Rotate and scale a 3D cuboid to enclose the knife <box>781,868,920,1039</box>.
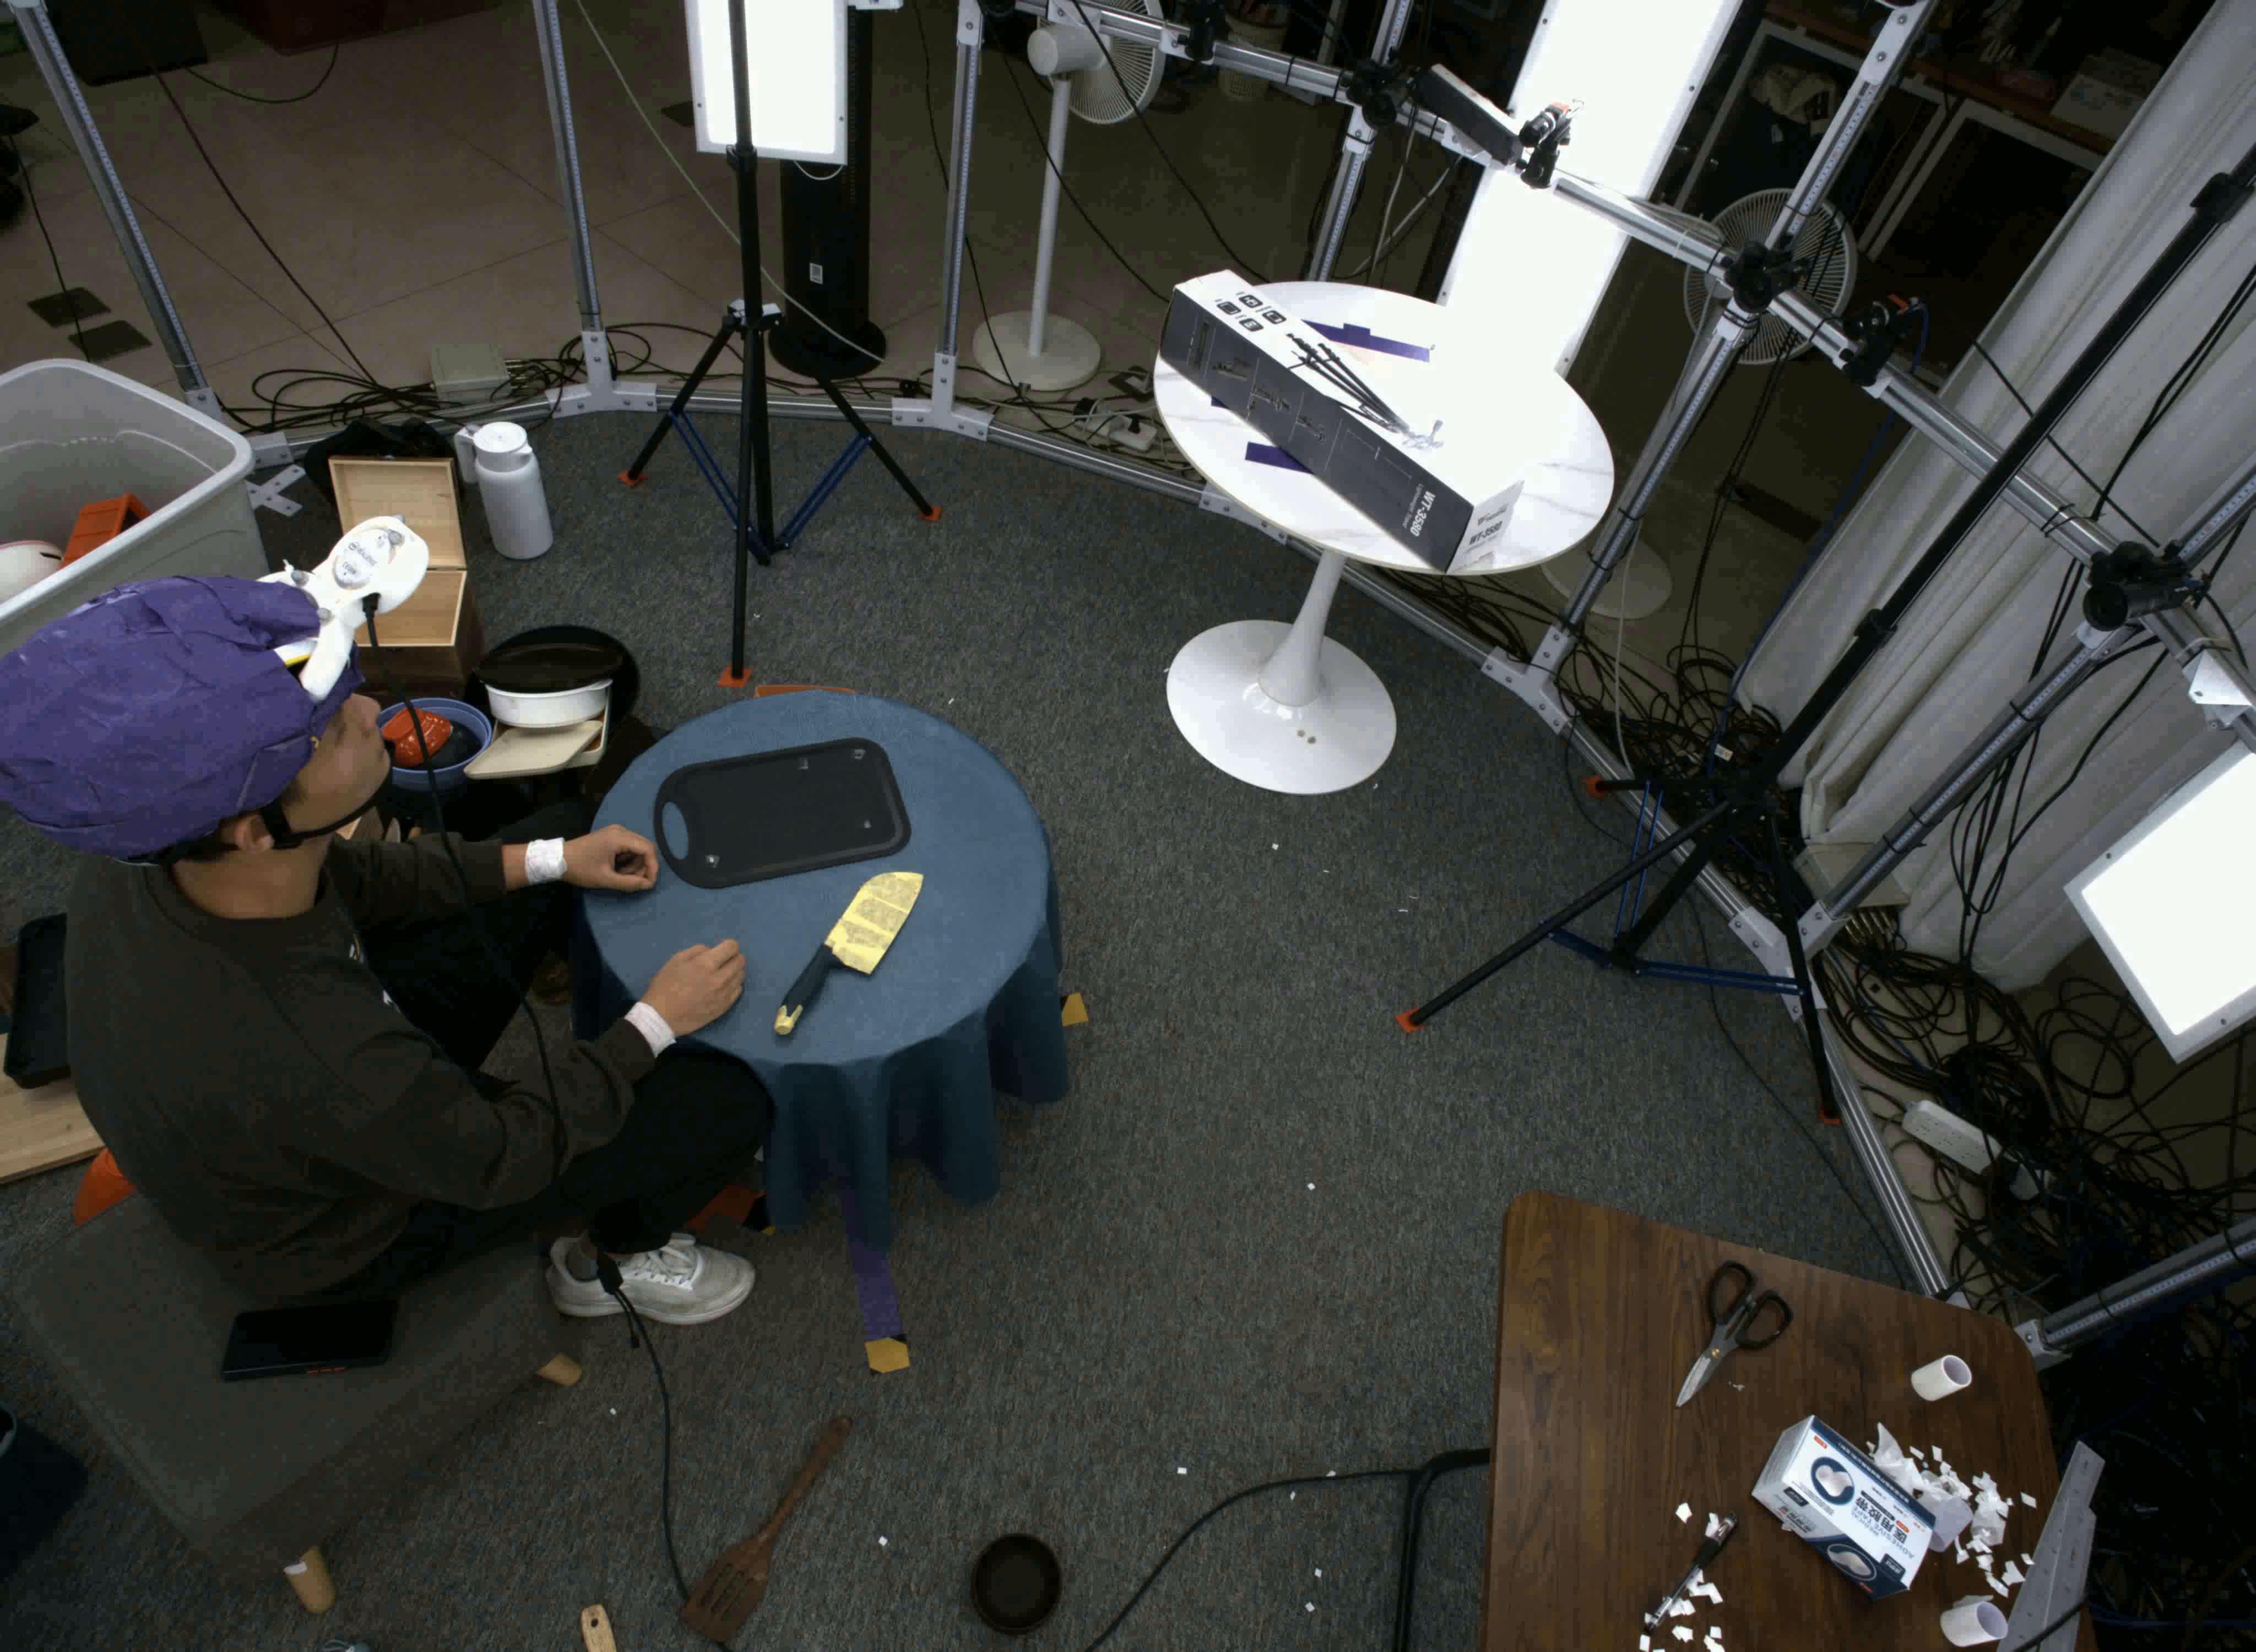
[{"bbox_3d":[-0.344,0.153,1.633,0.080,0.028,0.287,25,51,7],"label":"knife"}]

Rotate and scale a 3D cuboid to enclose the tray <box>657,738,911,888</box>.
[{"bbox_3d":[-0.464,-0.022,1.736,0.327,0.010,0.206,-11,58,-21],"label":"tray"}]
